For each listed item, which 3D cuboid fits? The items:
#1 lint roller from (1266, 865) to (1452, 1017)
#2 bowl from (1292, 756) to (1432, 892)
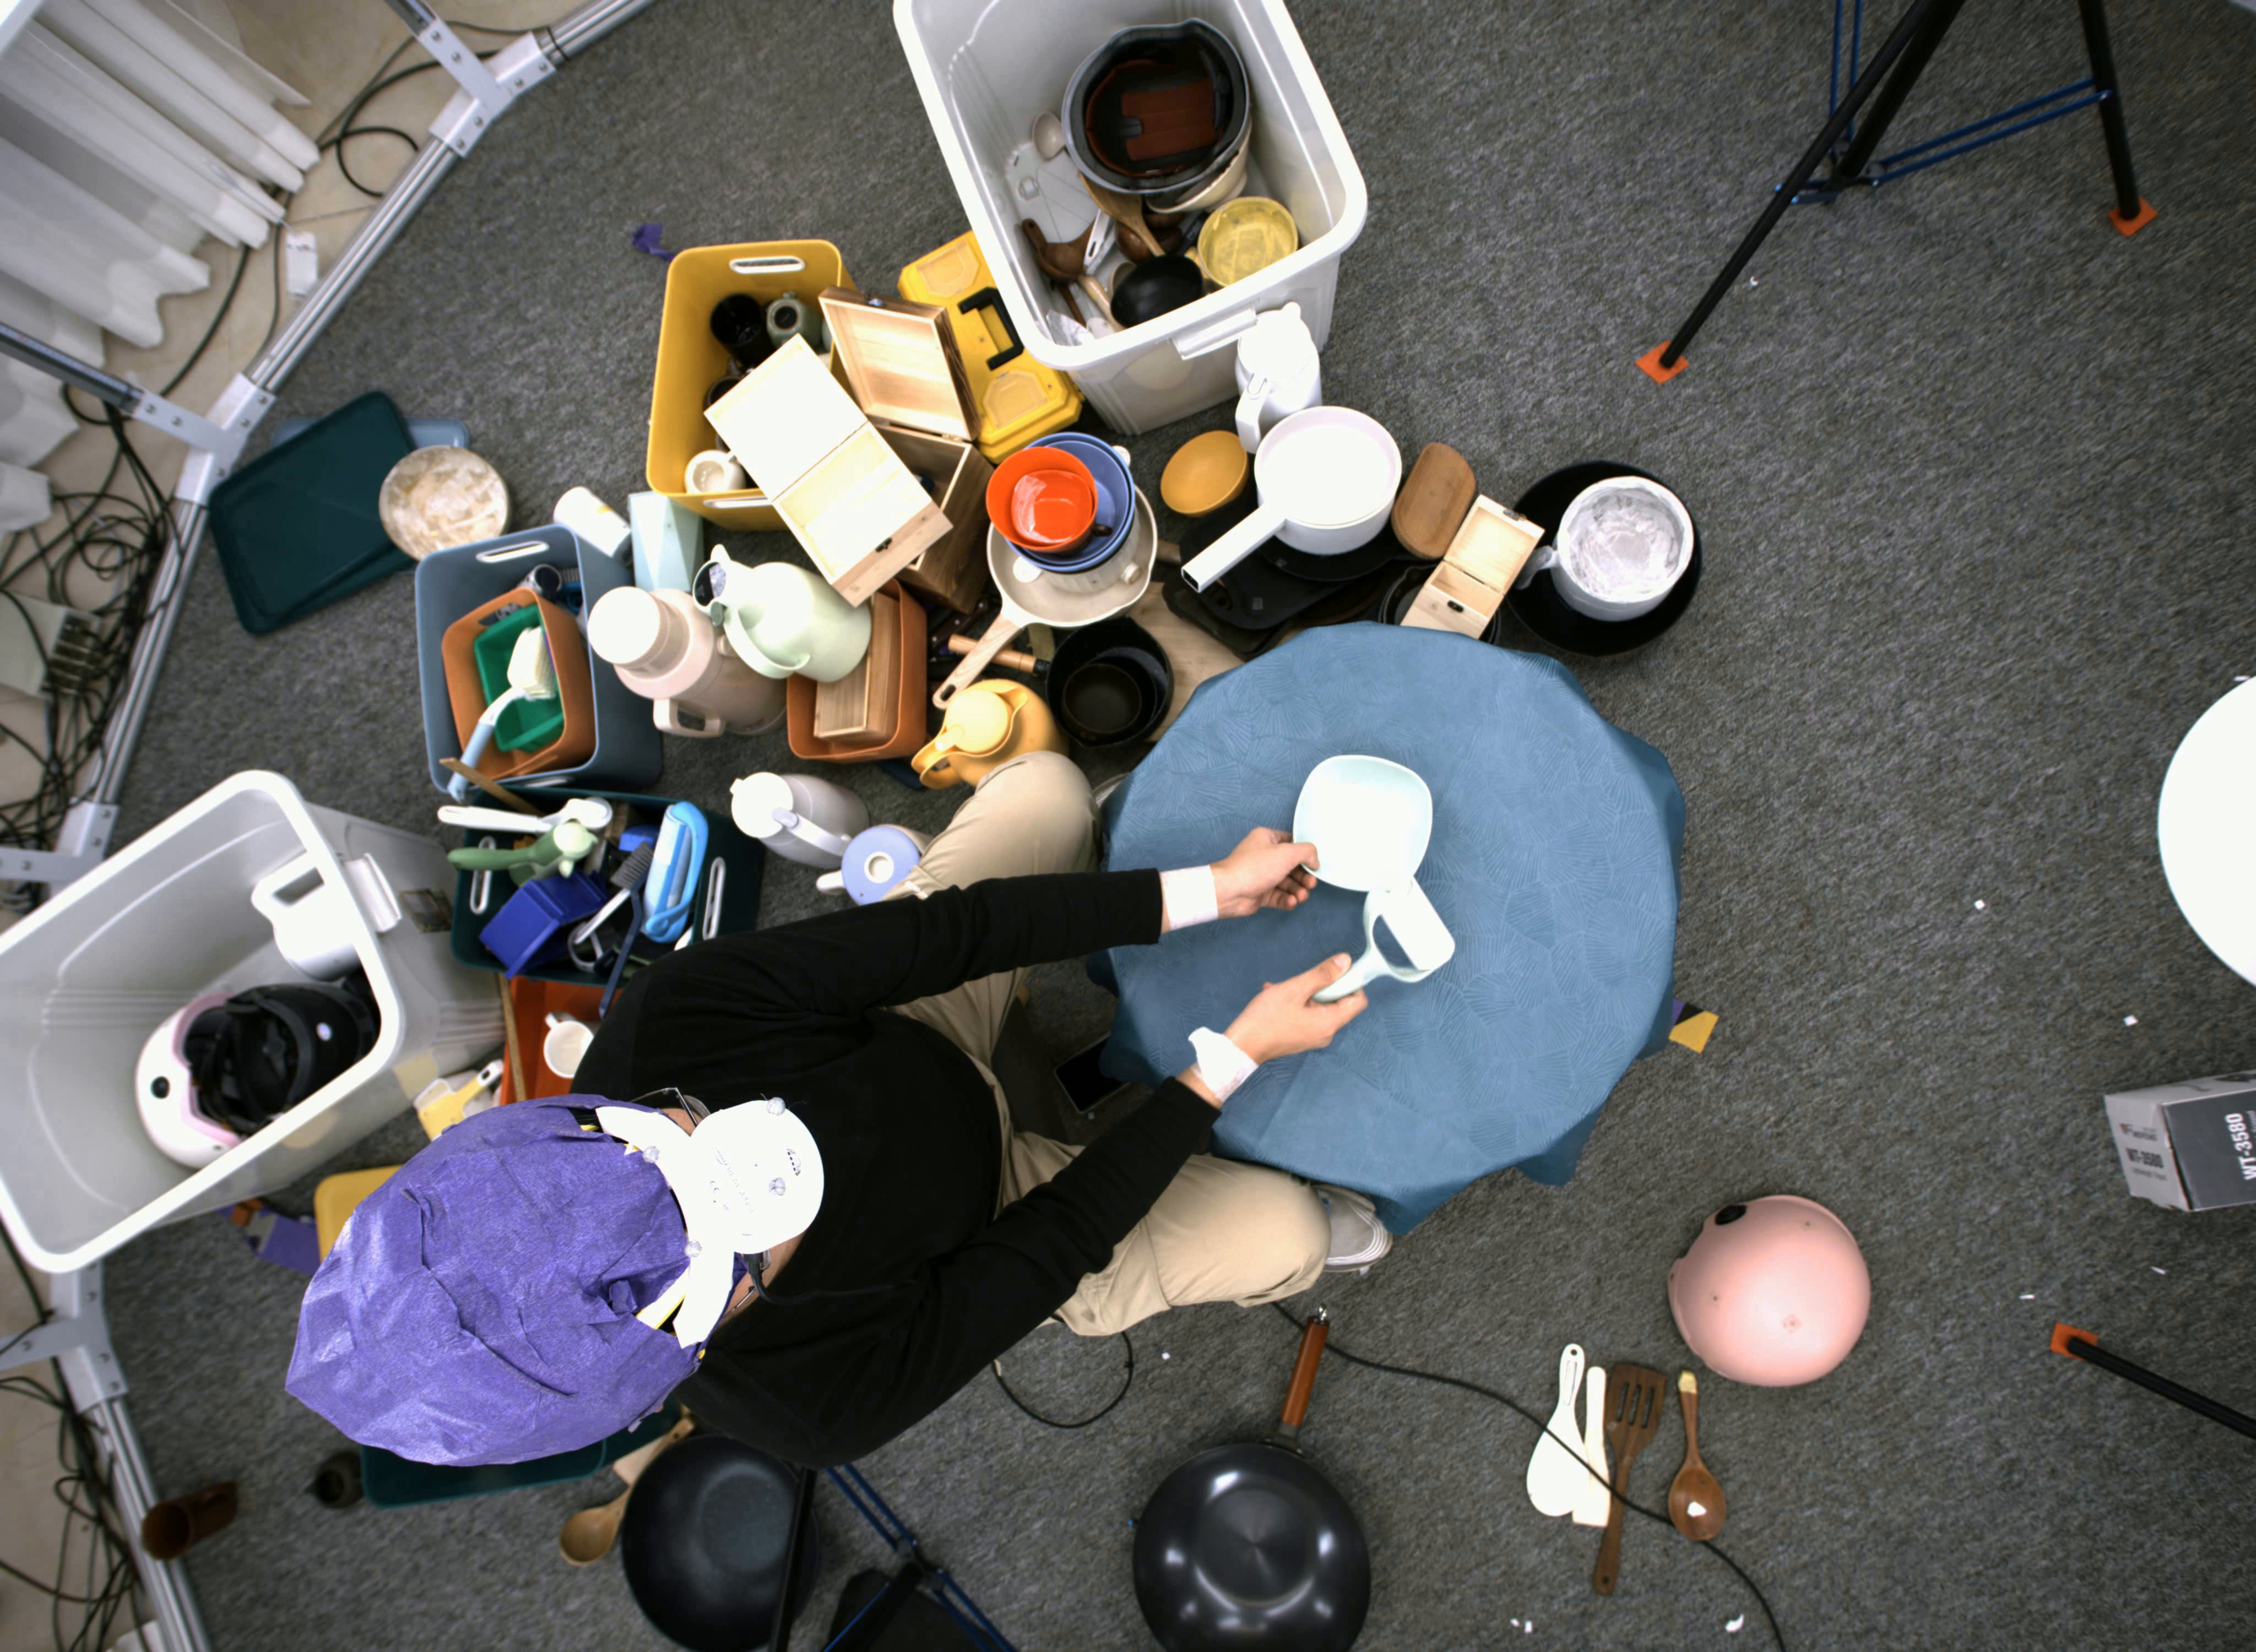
[{"bbox_3d":[0.221,0.130,1.373,0.198,0.118,0.047,-38,37,5],"label":"lint roller"},{"bbox_3d":[0.244,0.000,1.439,0.152,0.059,0.150,-1,85,11],"label":"bowl"}]
